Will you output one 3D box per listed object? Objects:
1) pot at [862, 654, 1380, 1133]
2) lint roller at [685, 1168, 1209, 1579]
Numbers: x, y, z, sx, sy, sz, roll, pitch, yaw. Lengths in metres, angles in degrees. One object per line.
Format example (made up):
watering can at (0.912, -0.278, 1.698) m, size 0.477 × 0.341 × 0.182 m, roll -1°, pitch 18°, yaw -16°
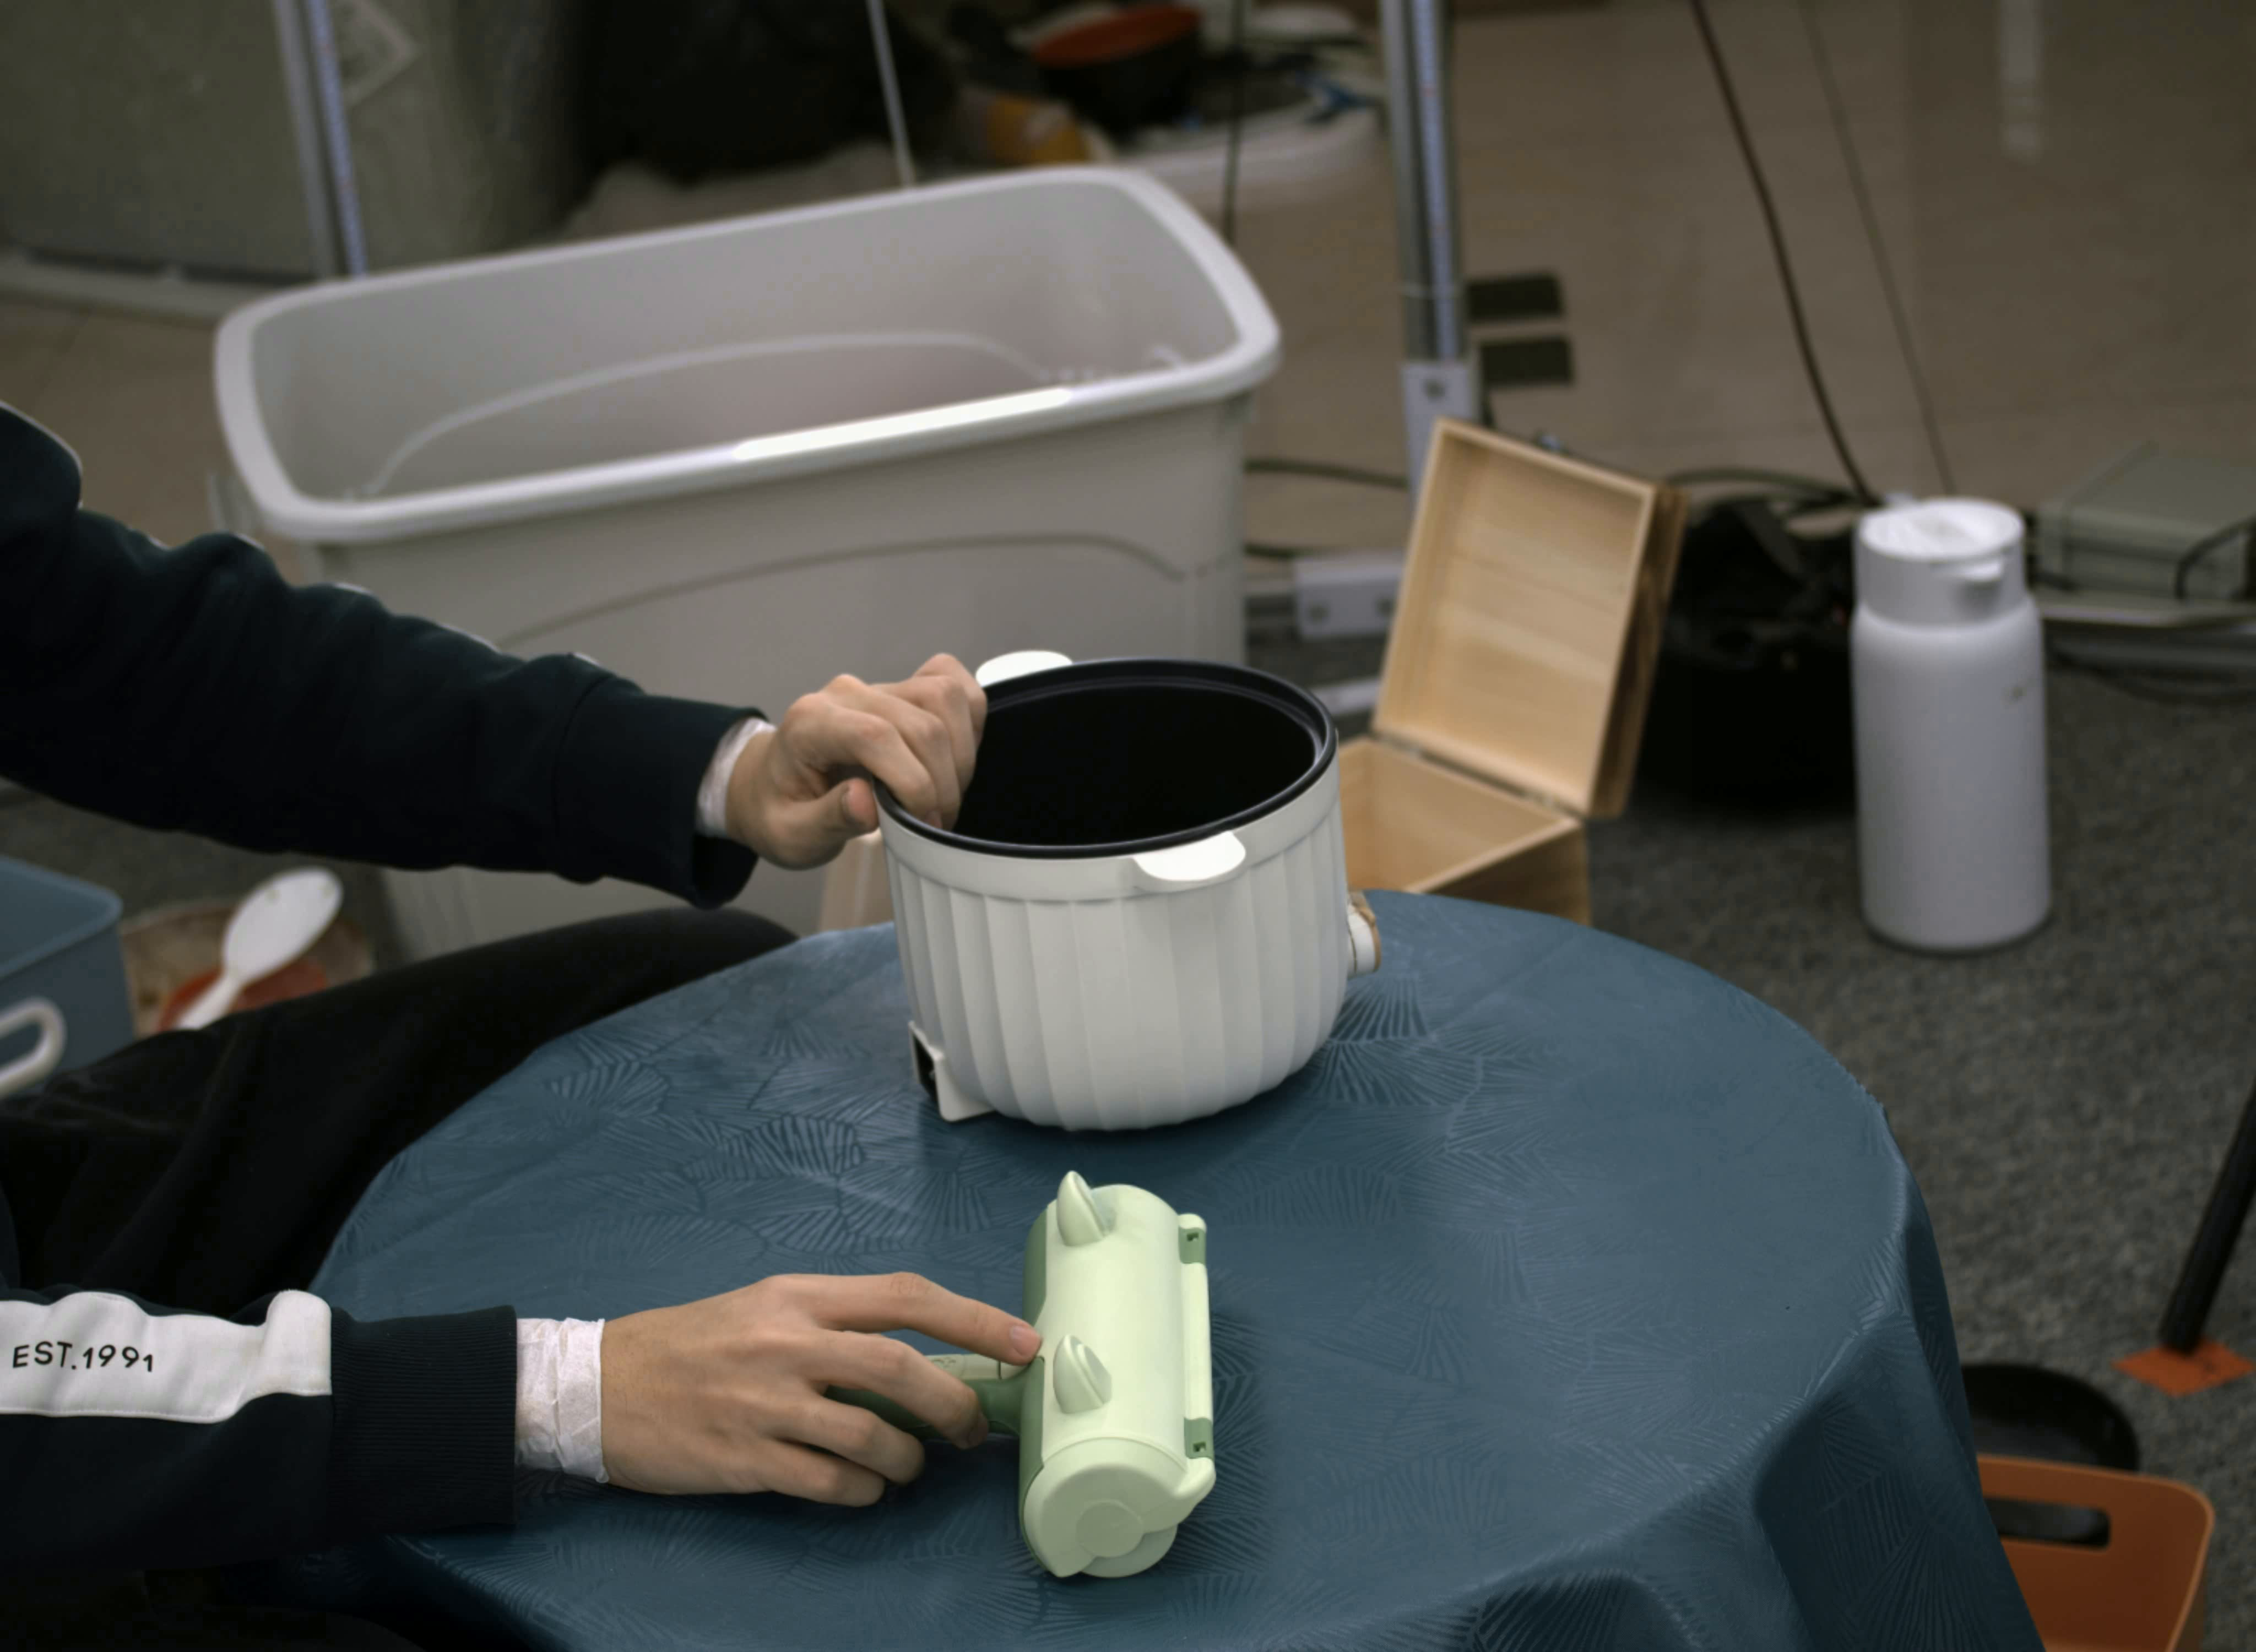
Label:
pot at (0.001, 0.029, 2.214) m, size 0.190 × 0.145 × 0.237 m, roll -17°, pitch 28°, yaw -14°
lint roller at (-0.064, 0.184, 1.972) m, size 0.183 × 0.083 × 0.195 m, roll 0°, pitch 26°, yaw 0°
